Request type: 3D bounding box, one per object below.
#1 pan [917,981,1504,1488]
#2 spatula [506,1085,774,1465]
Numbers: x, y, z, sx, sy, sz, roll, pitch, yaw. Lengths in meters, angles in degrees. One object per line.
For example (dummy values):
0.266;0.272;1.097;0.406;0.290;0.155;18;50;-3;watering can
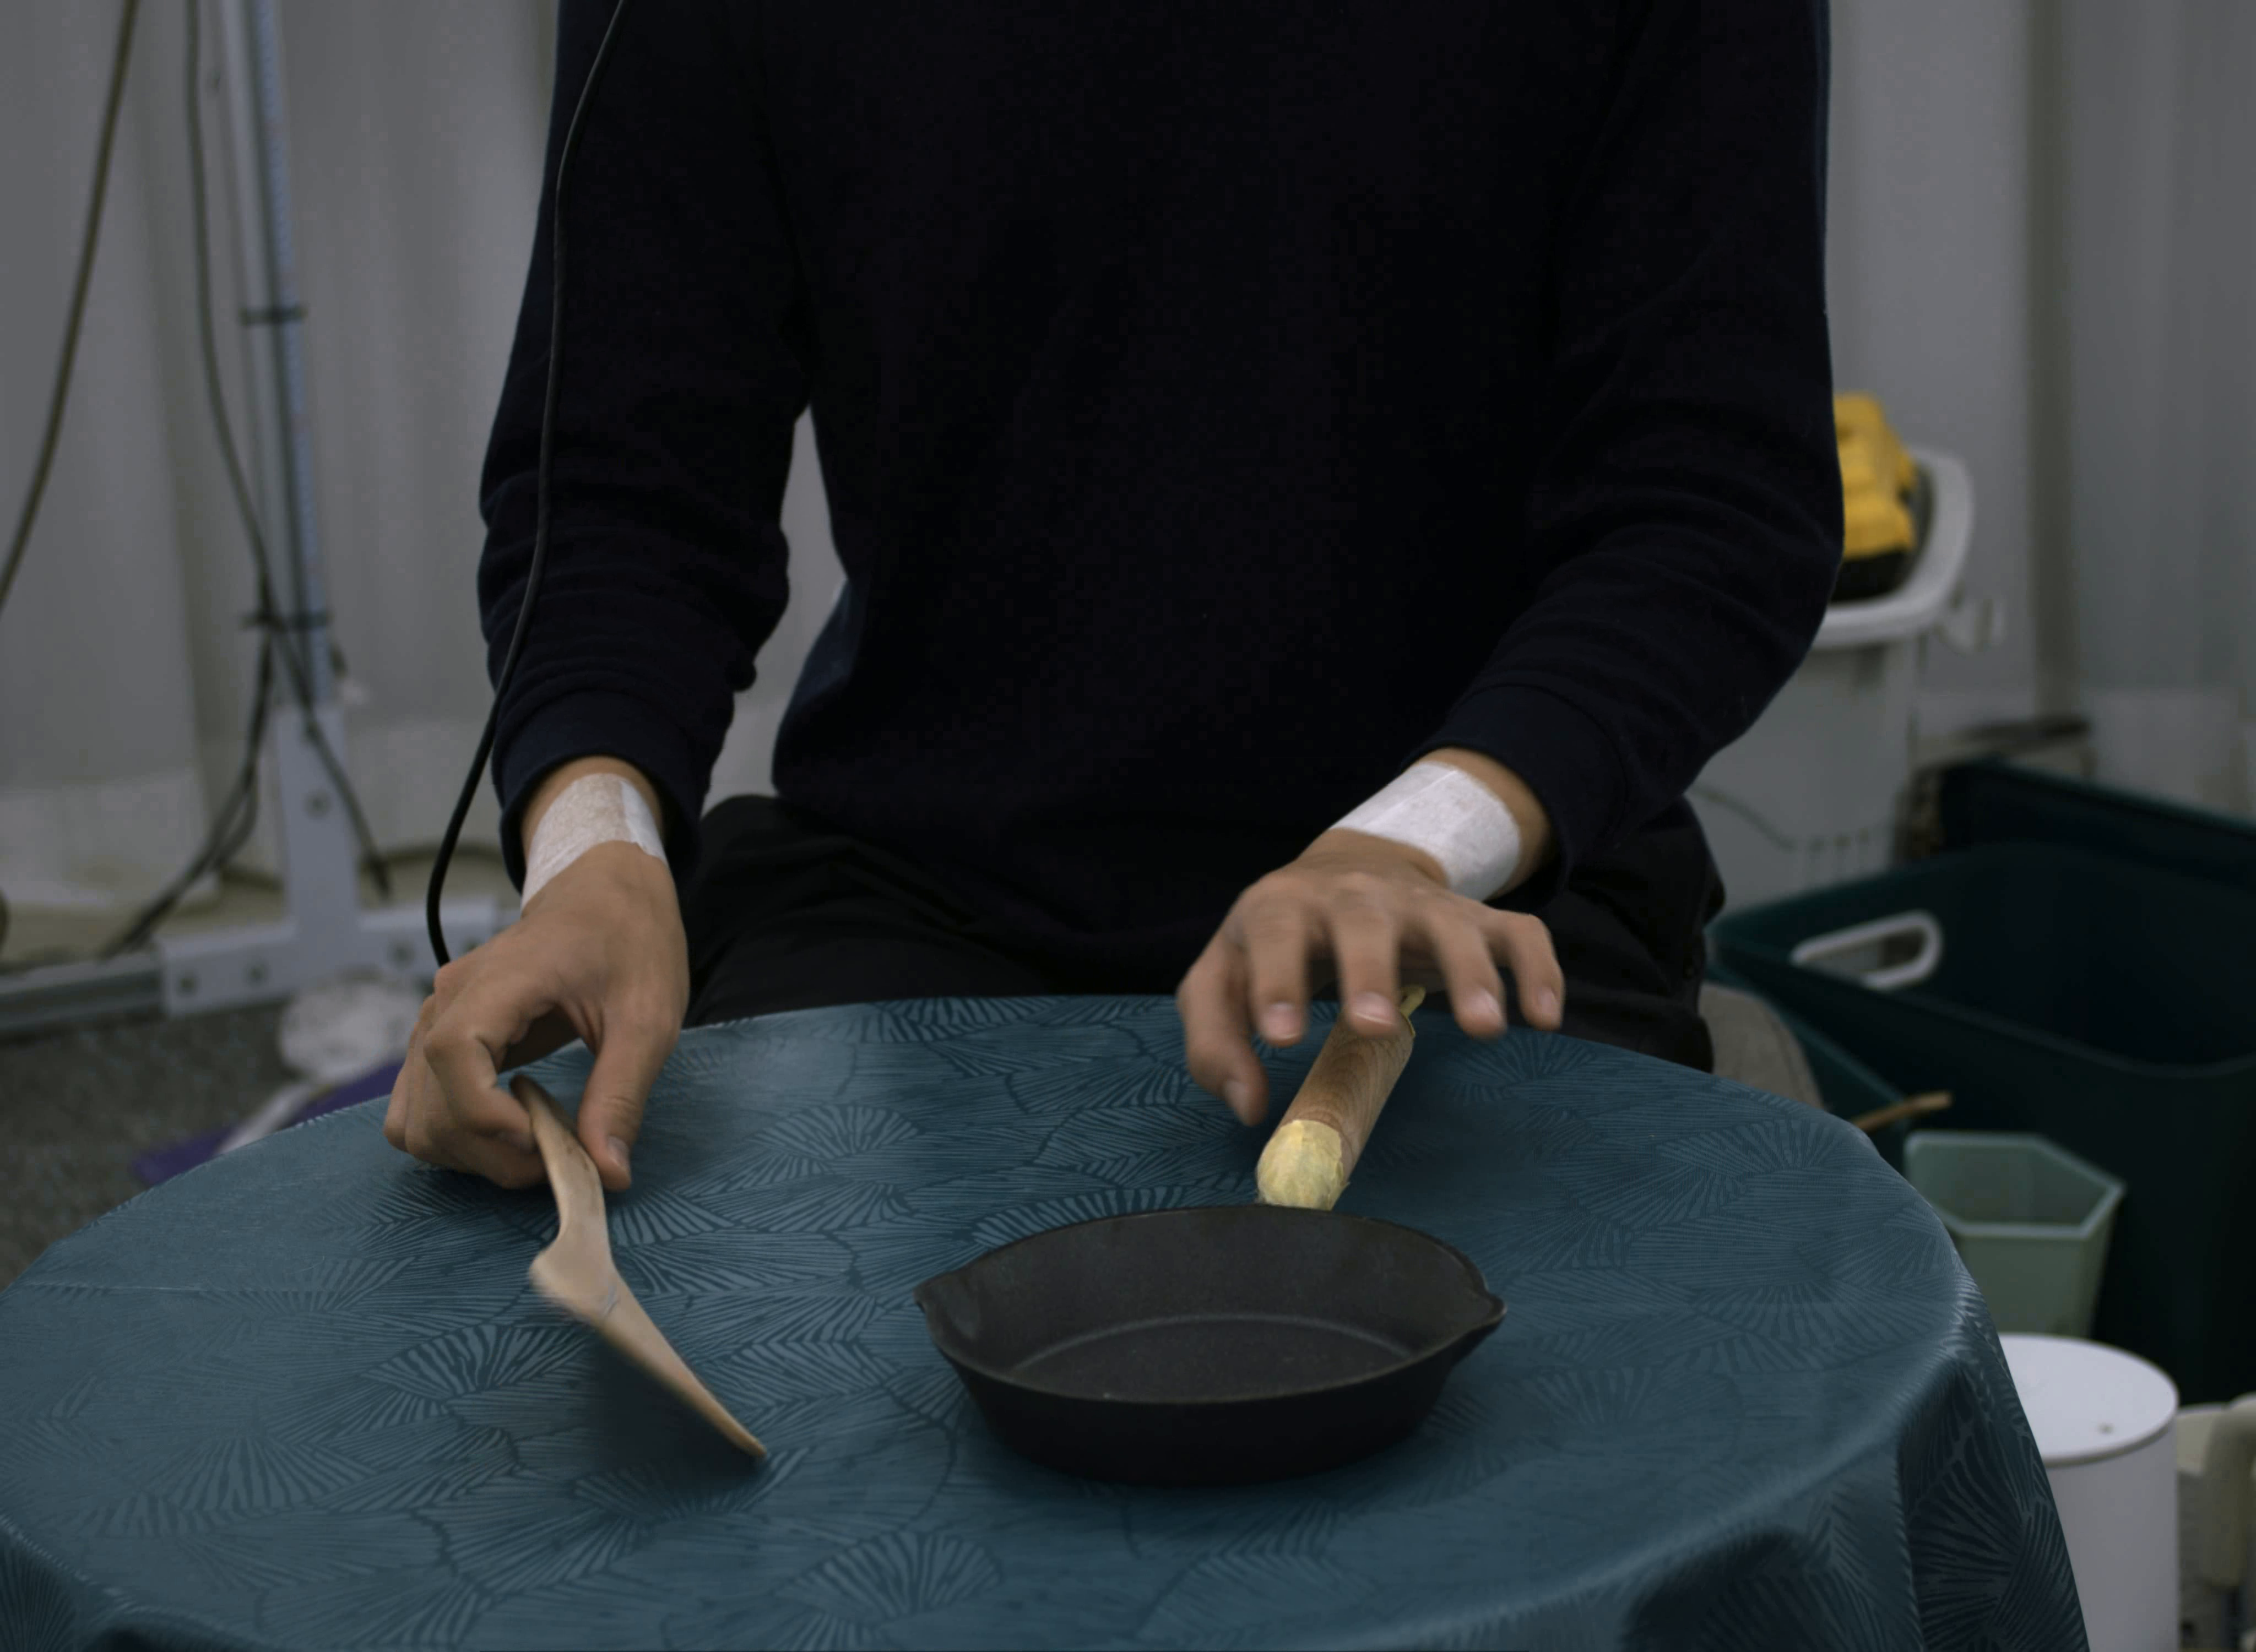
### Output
0.046;0.116;1.604;0.169;0.049;0.325;1;17;17;pan
-0.158;0.125;1.630;0.079;0.016;0.330;33;5;-16;spatula
